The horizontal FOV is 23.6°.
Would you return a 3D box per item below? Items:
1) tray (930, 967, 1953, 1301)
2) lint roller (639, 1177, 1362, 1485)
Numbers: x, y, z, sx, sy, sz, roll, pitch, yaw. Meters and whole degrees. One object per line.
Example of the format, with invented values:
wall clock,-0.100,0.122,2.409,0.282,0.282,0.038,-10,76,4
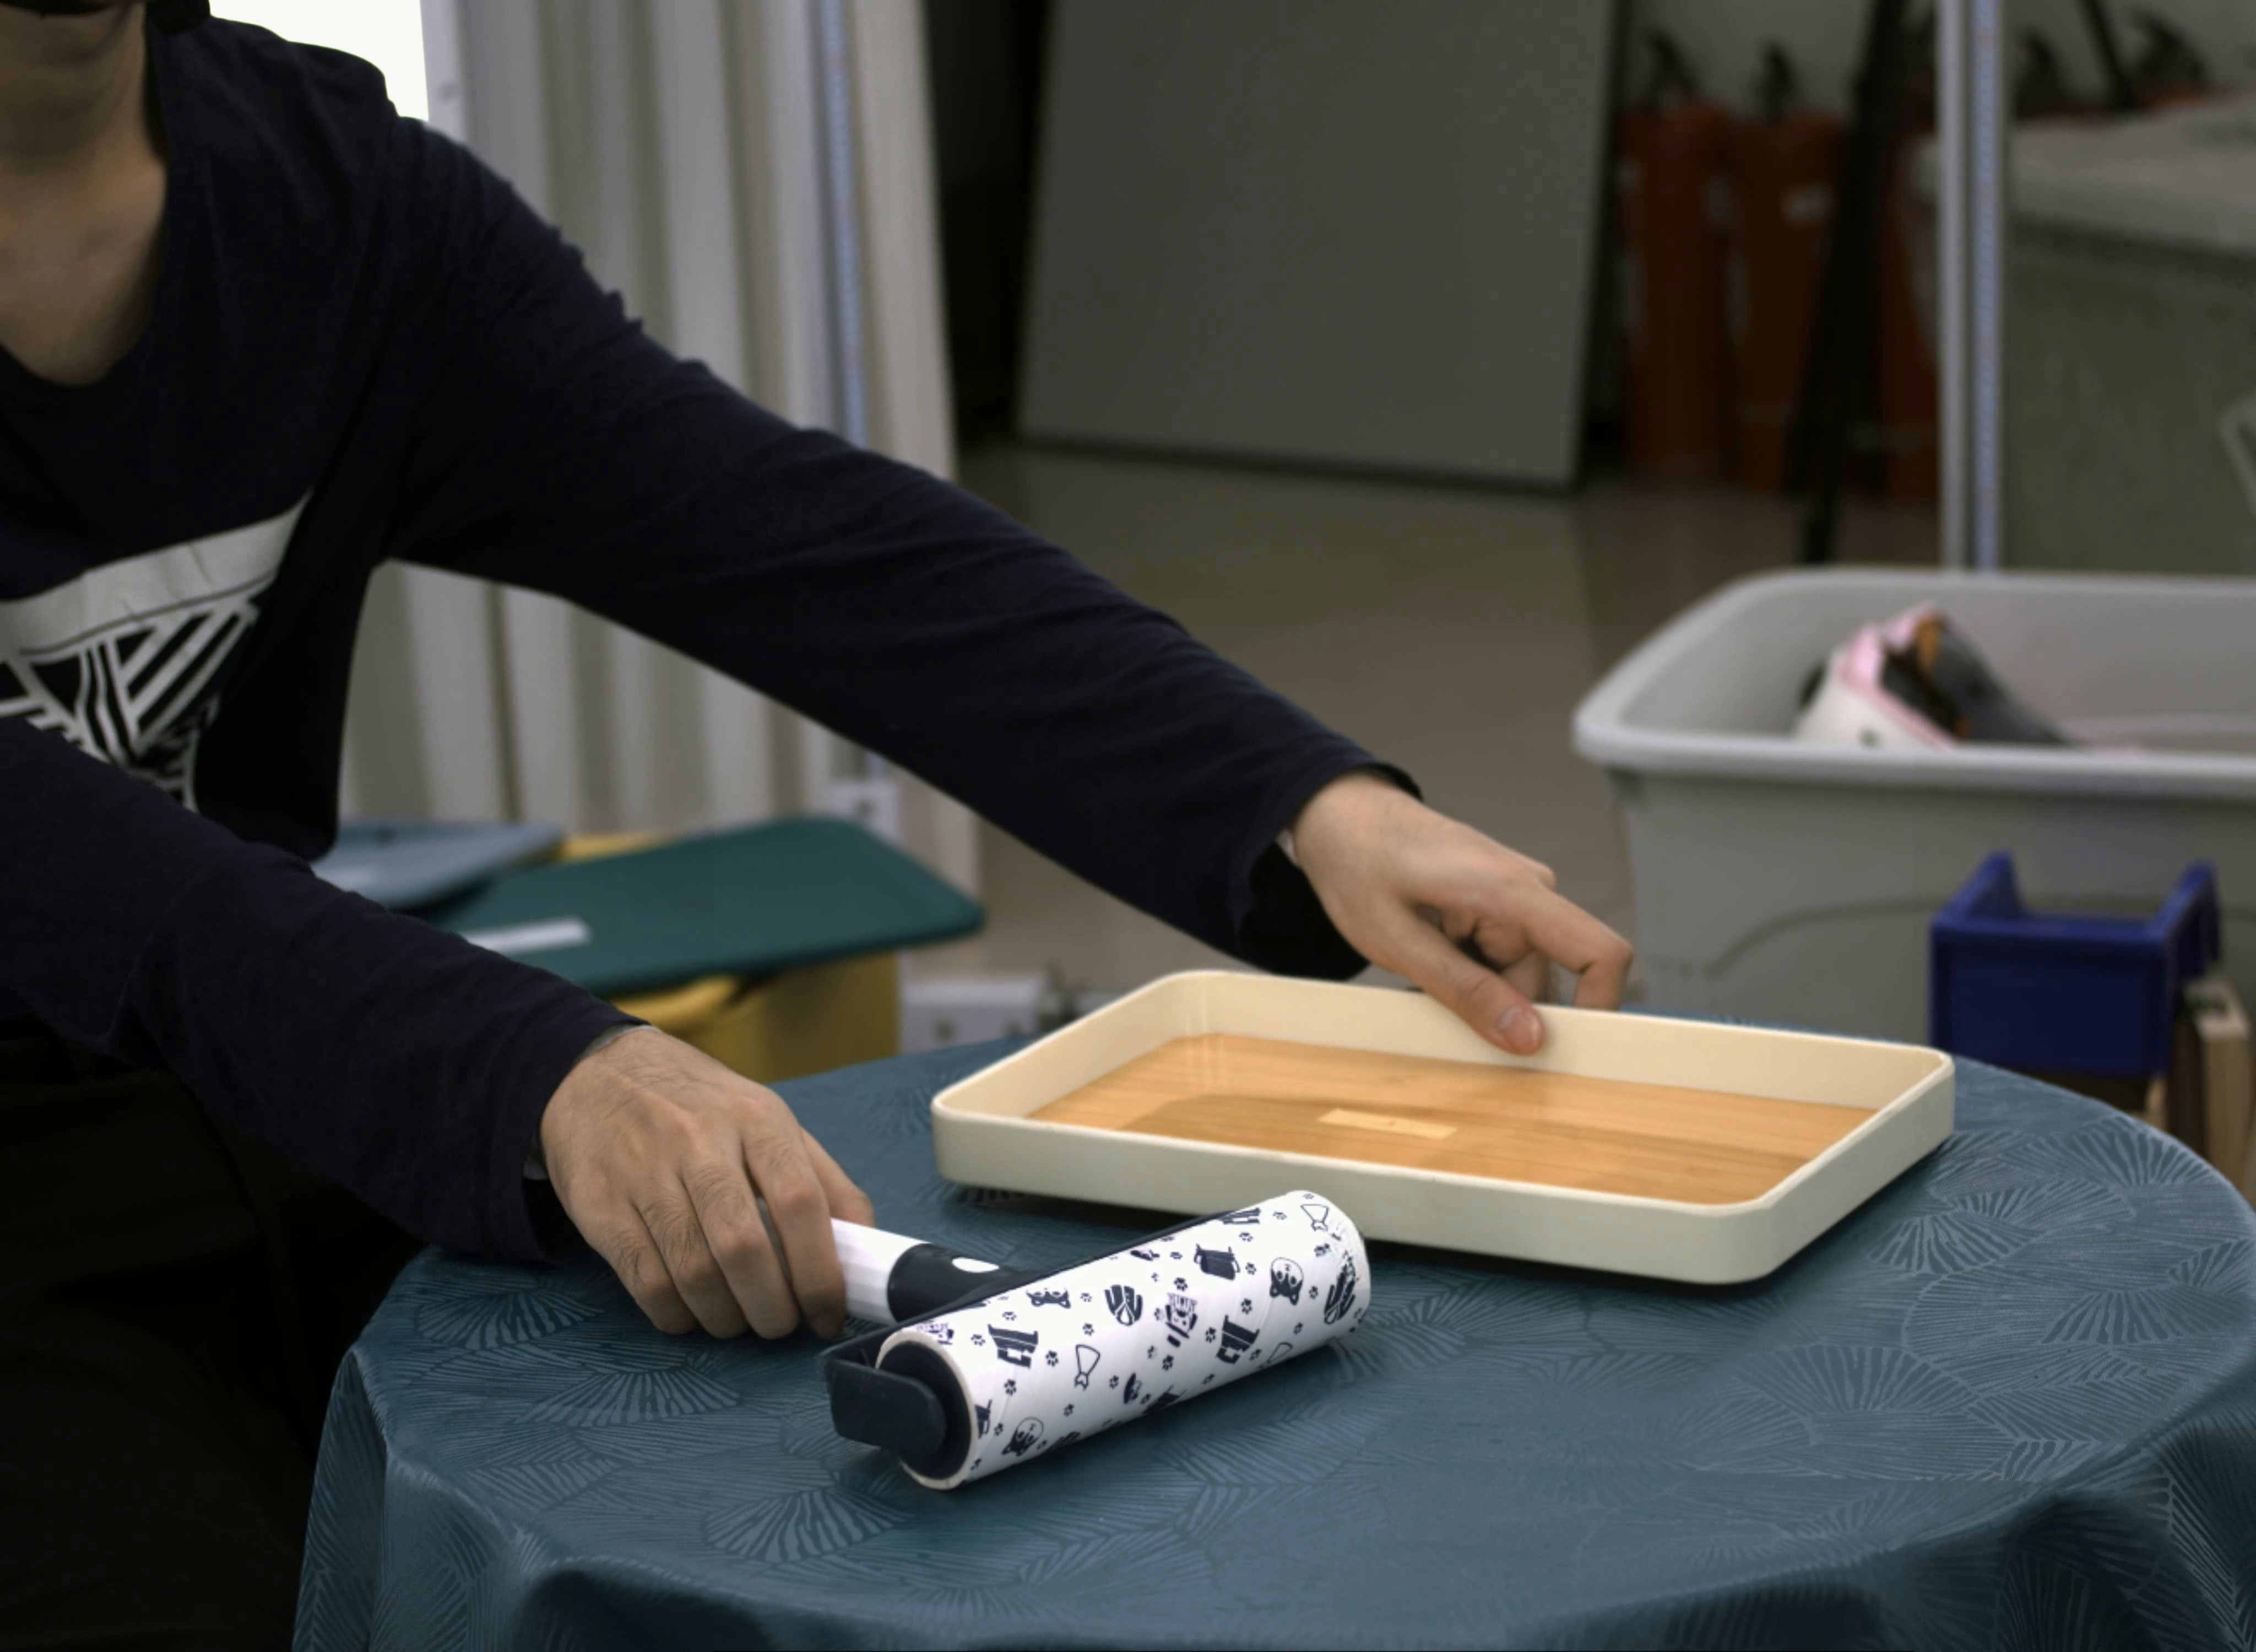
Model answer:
tray,0.103,0.097,1.765,0.301,0.028,0.189,5,18,31
lint roller,-0.071,0.137,1.638,0.172,0.051,0.249,-17,16,-40
